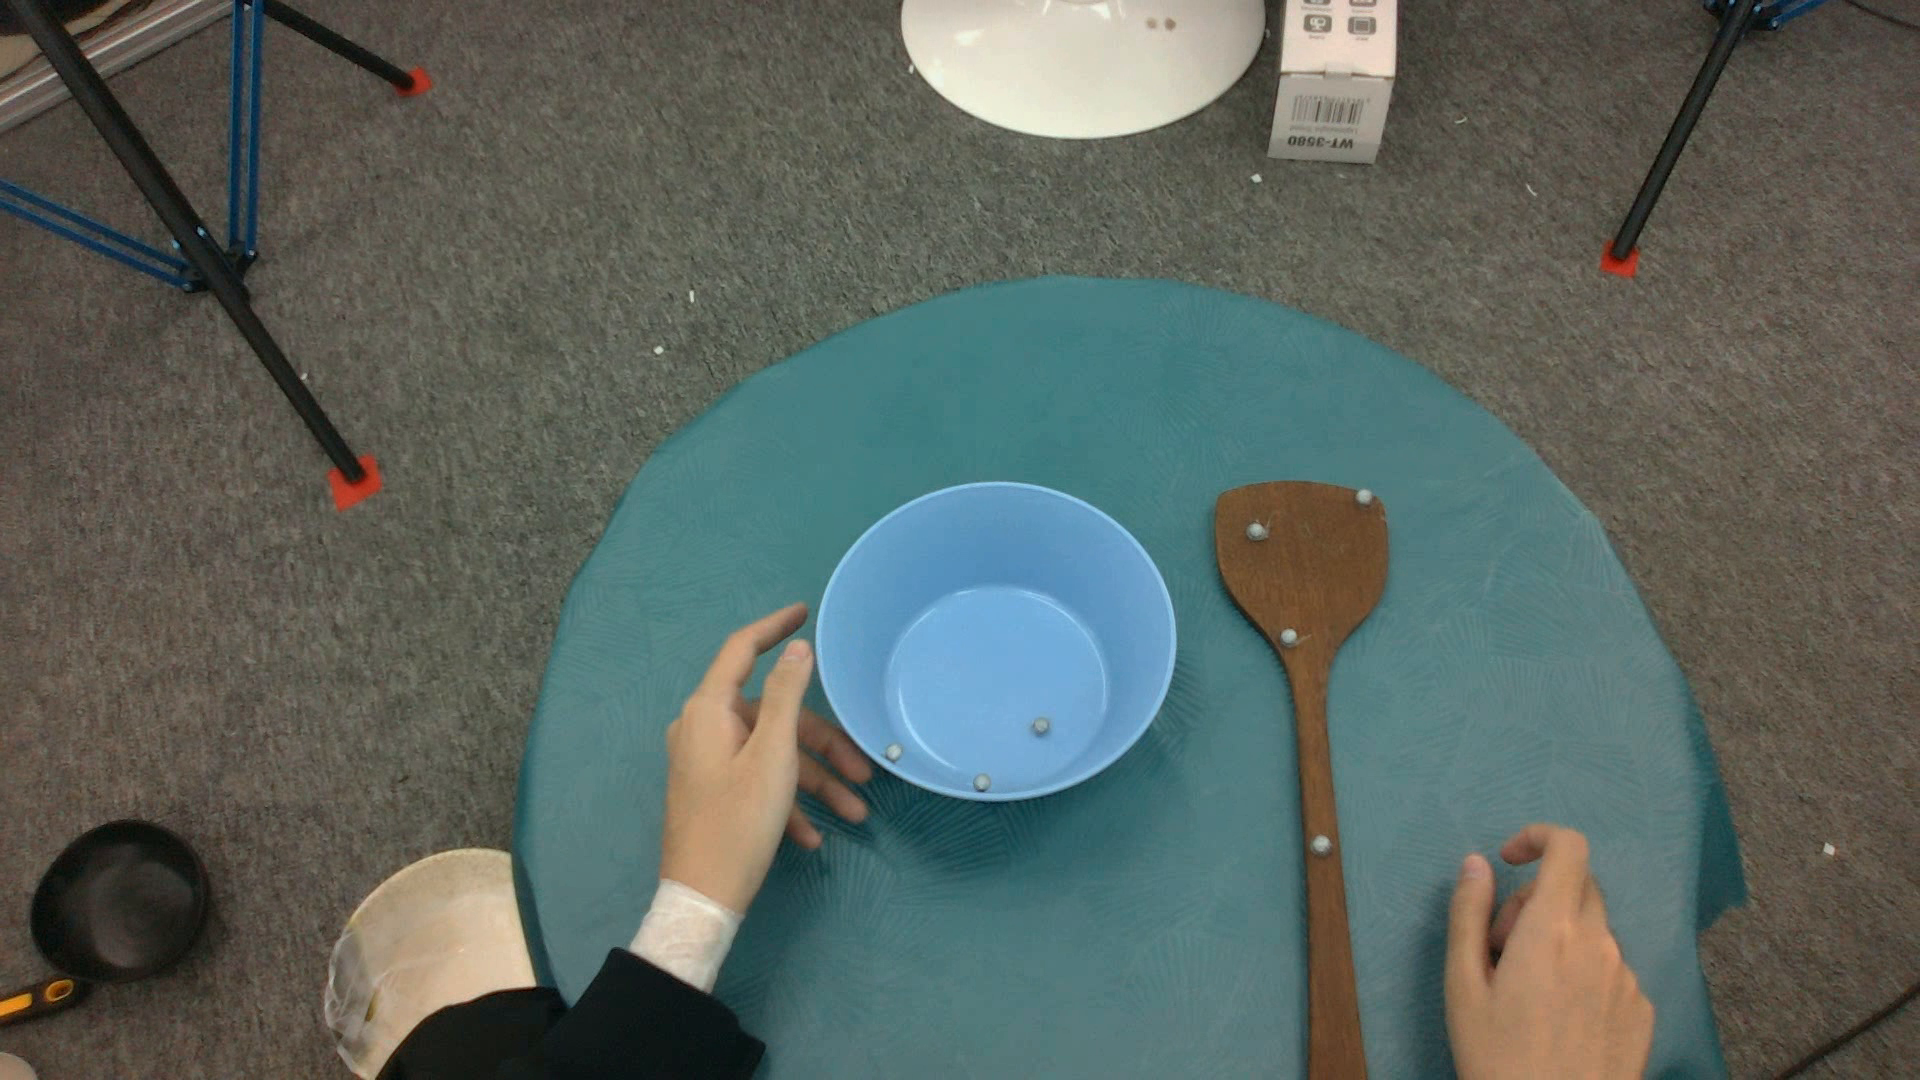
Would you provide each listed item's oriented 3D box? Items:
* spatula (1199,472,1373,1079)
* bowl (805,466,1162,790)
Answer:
[{"bbox_3d":[0.170,0.127,0.681,0.096,0.016,0.387,2,58,3],"label":"spatula"},{"bbox_3d":[0.012,0.053,0.699,0.176,0.070,0.177,-1,59,2],"label":"bowl"}]
